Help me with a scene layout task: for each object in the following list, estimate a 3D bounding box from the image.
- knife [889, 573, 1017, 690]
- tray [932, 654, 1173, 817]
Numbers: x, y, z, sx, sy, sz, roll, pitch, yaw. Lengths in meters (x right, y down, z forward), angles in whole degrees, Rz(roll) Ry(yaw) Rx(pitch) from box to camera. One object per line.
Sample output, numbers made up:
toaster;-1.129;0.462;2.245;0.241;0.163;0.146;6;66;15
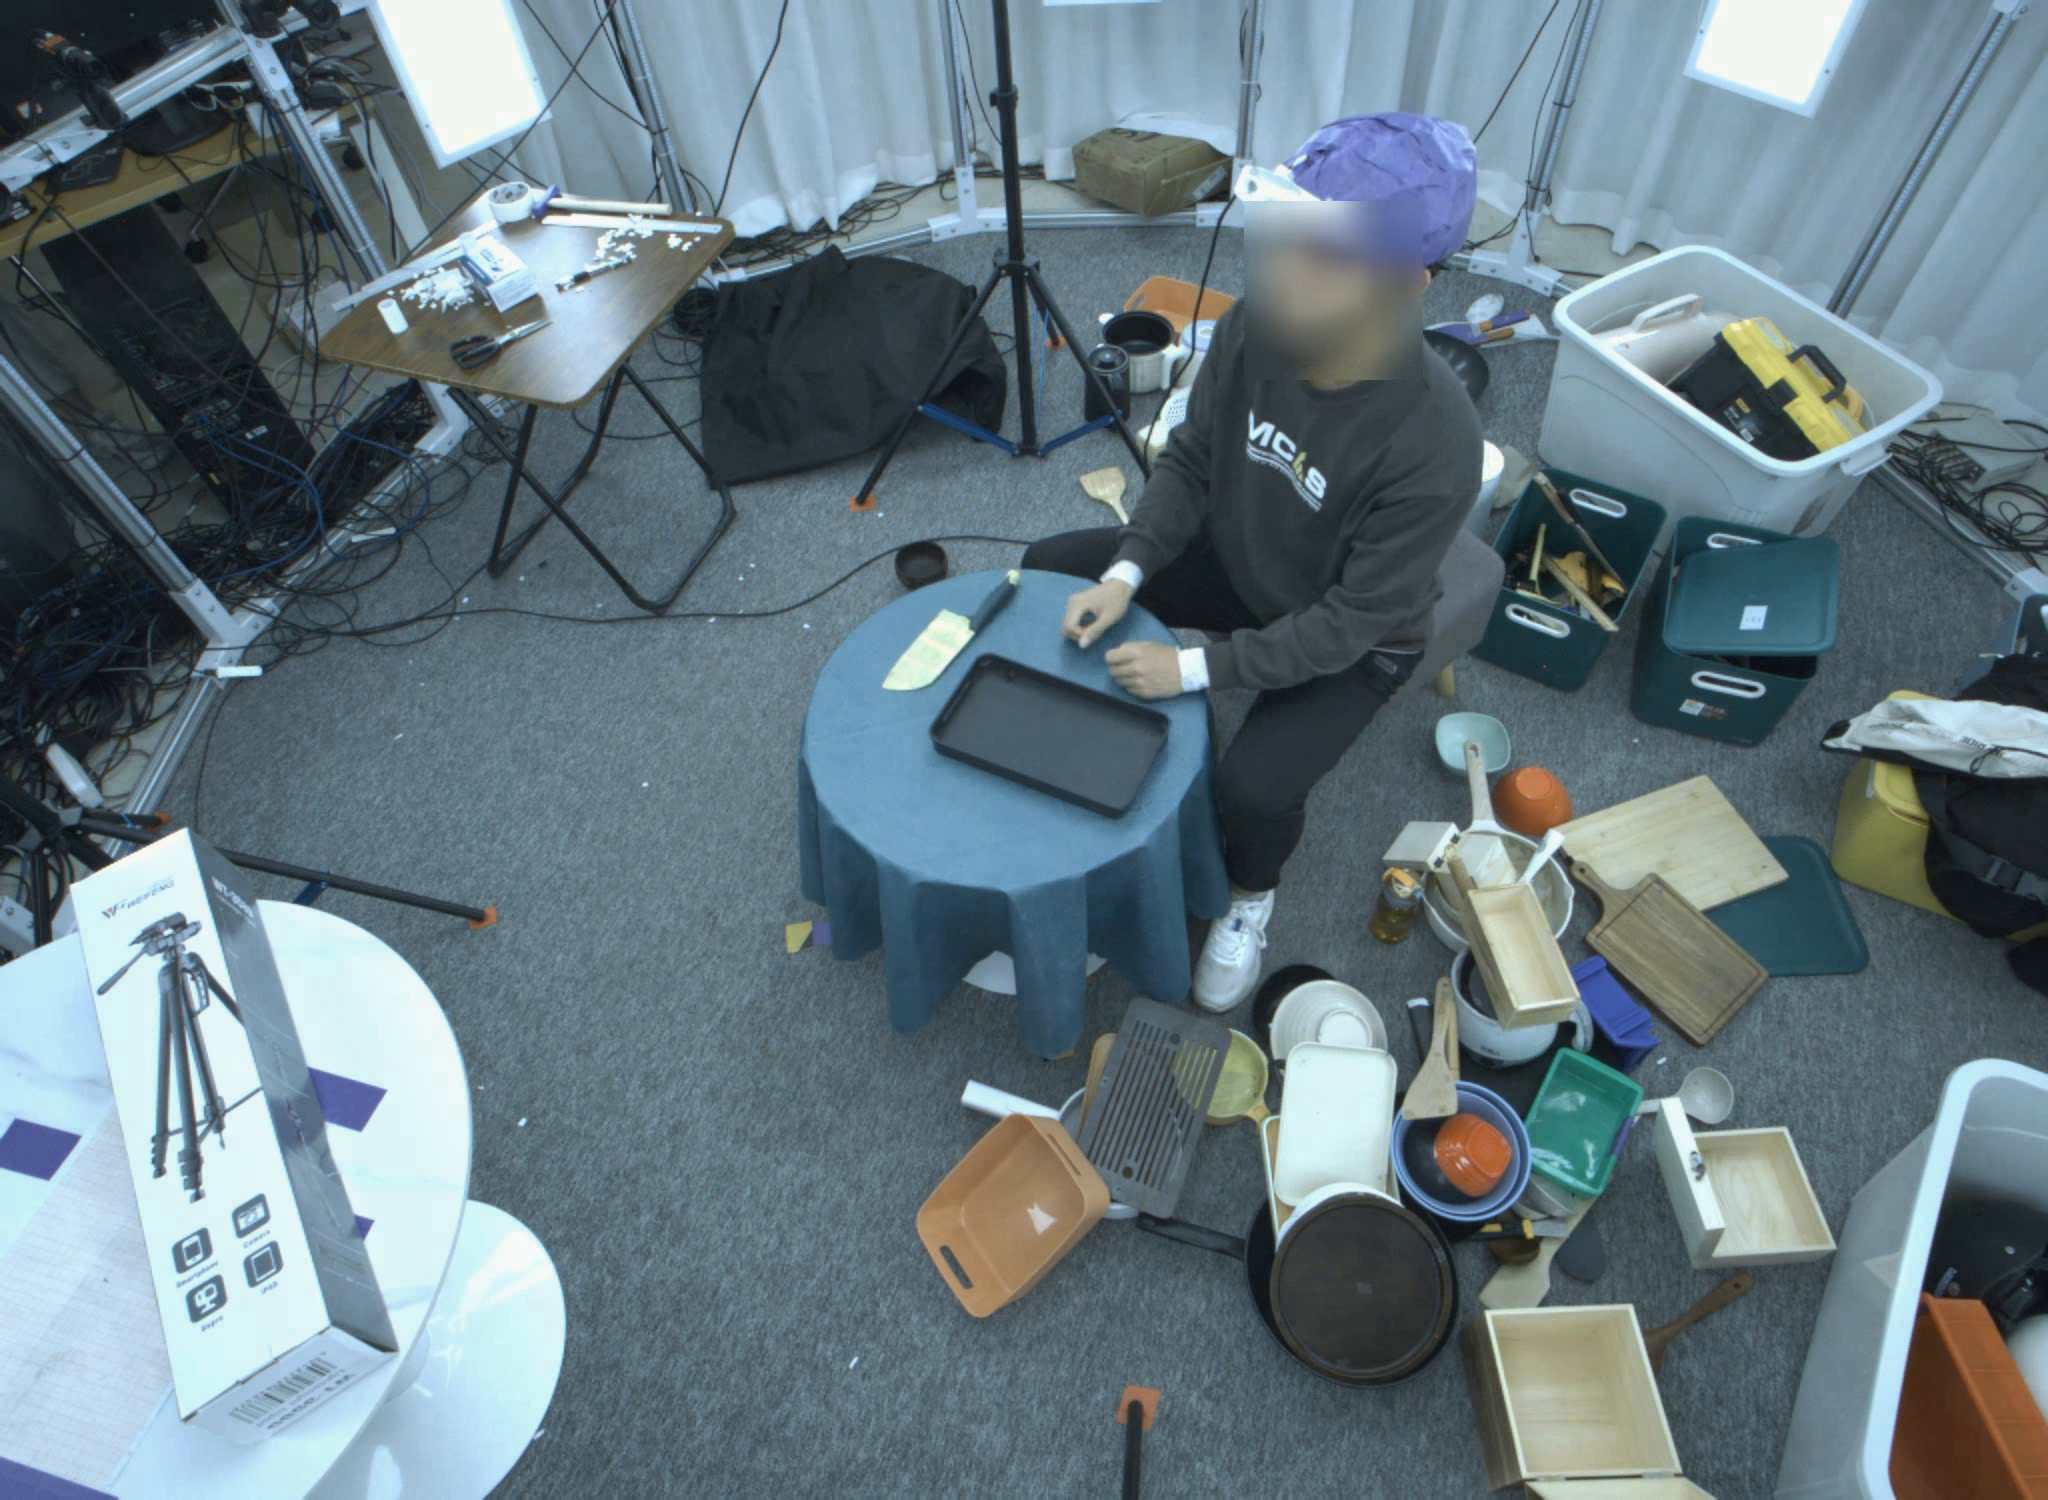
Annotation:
knife;-0.111;-0.189;1.924;0.080;0.027;0.291;32;62;21
tray;0.042;-0.024;1.789;0.314;0.037;0.184;19;56;15
